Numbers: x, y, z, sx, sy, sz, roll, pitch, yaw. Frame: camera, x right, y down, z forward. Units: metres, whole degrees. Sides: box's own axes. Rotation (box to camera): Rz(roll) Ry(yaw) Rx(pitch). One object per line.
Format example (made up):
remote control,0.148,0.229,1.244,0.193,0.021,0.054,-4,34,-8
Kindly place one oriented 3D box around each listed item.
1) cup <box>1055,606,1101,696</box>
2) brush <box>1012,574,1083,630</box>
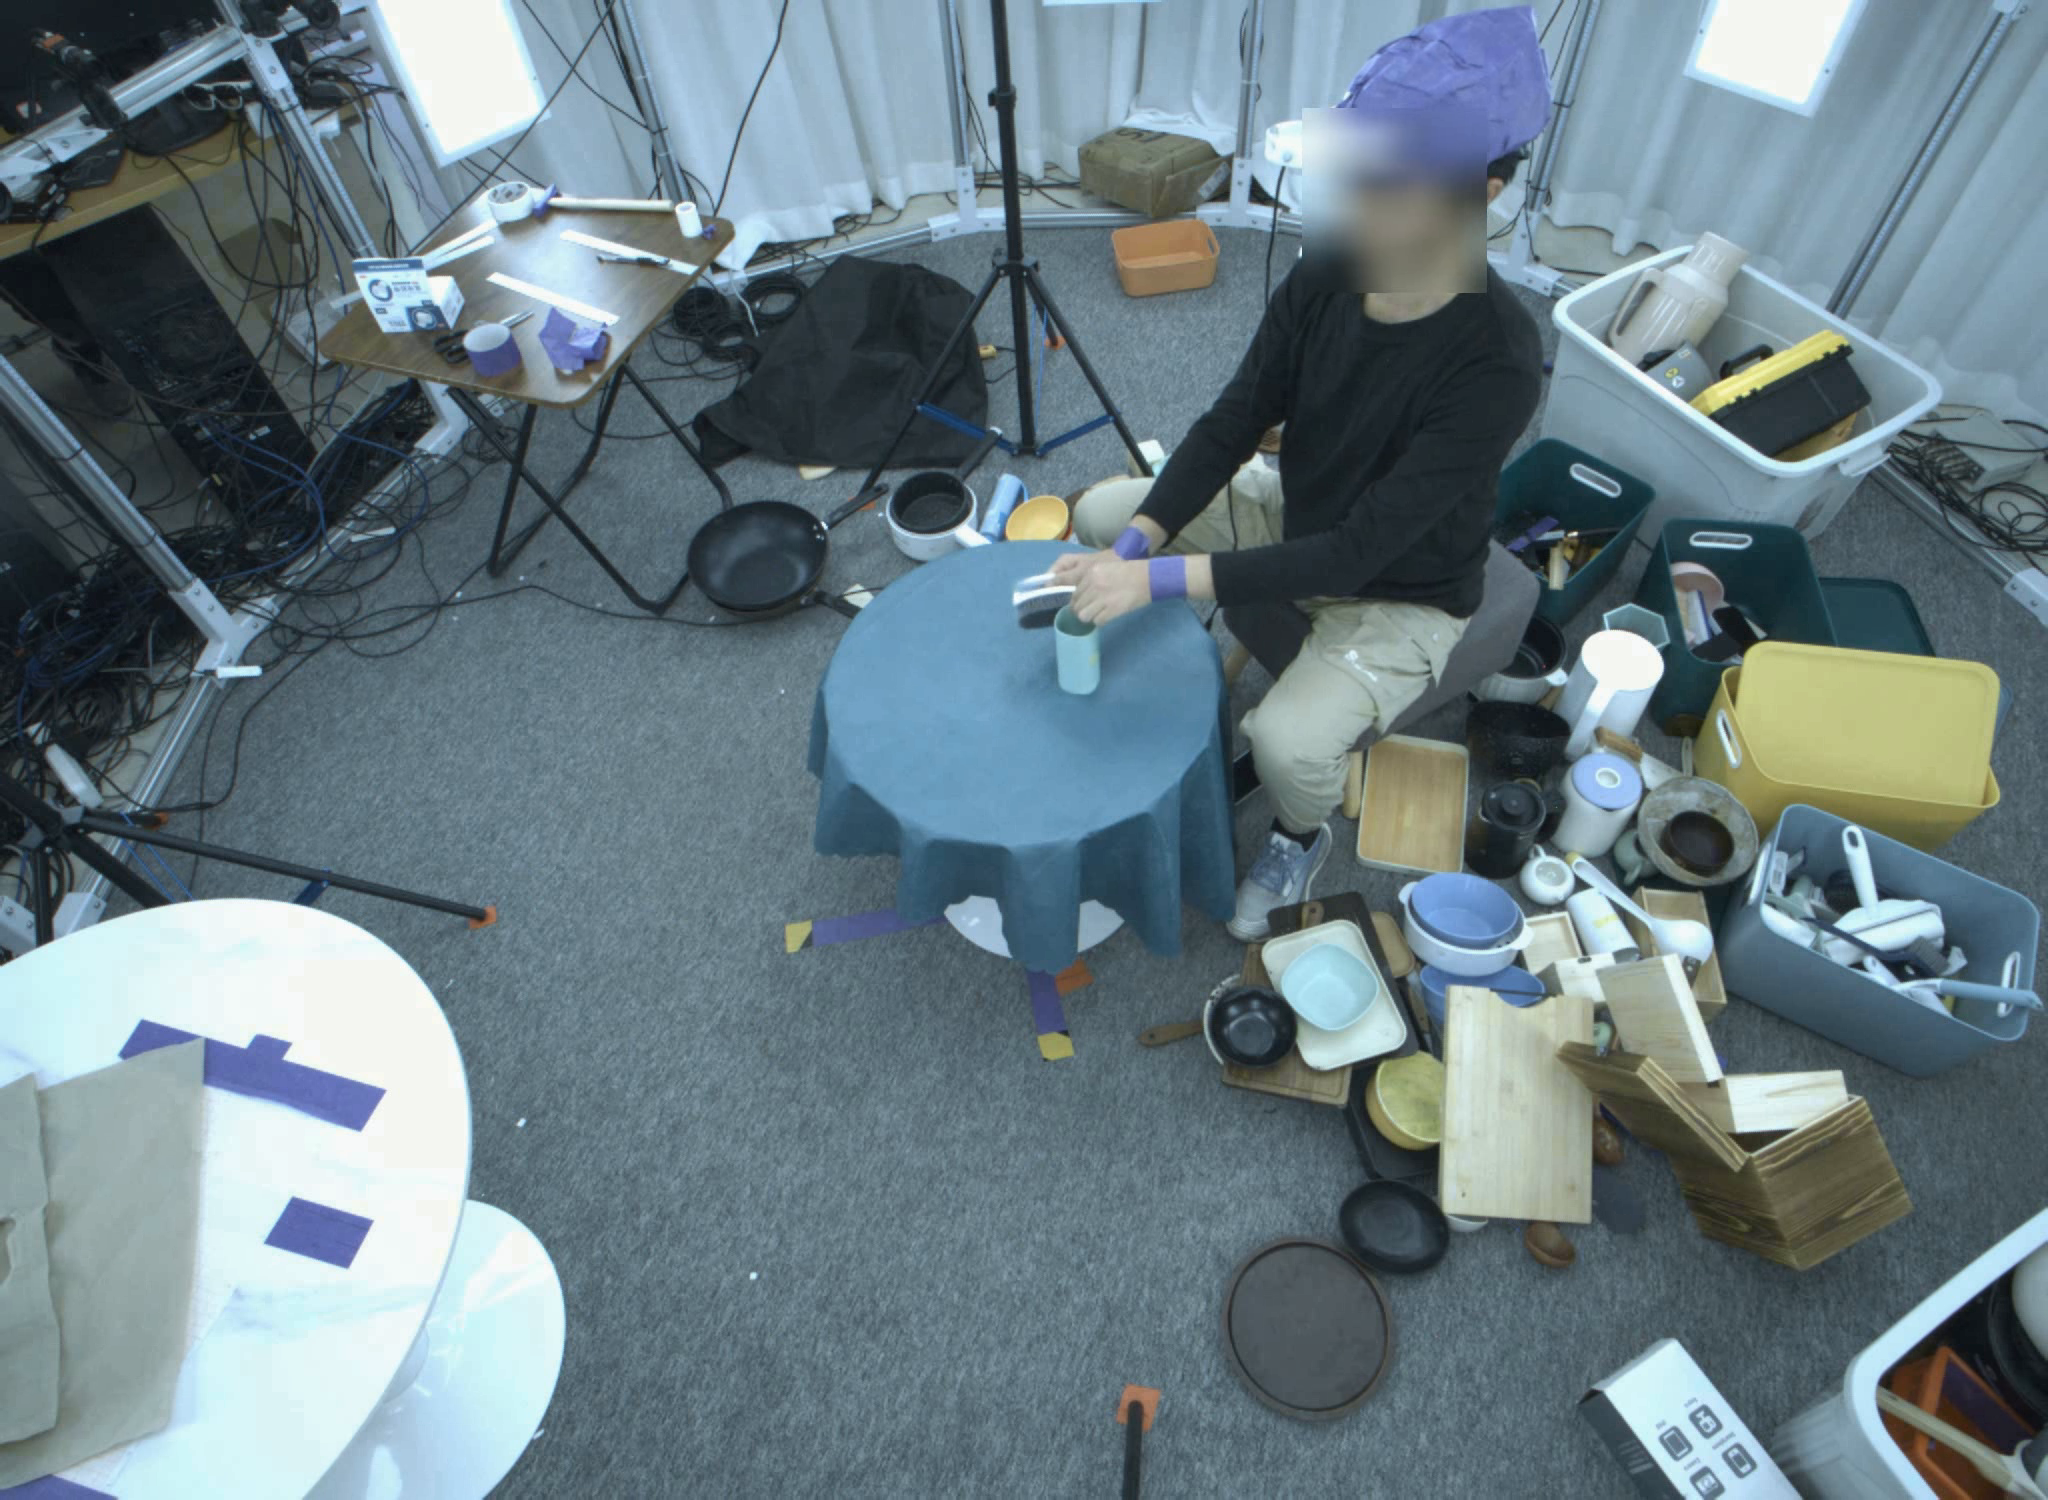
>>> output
cup,0.079,-0.145,1.815,0.066,0.134,0.066,-2,55,3
brush,0.030,-0.225,1.806,0.100,0.050,0.071,-13,65,-7
